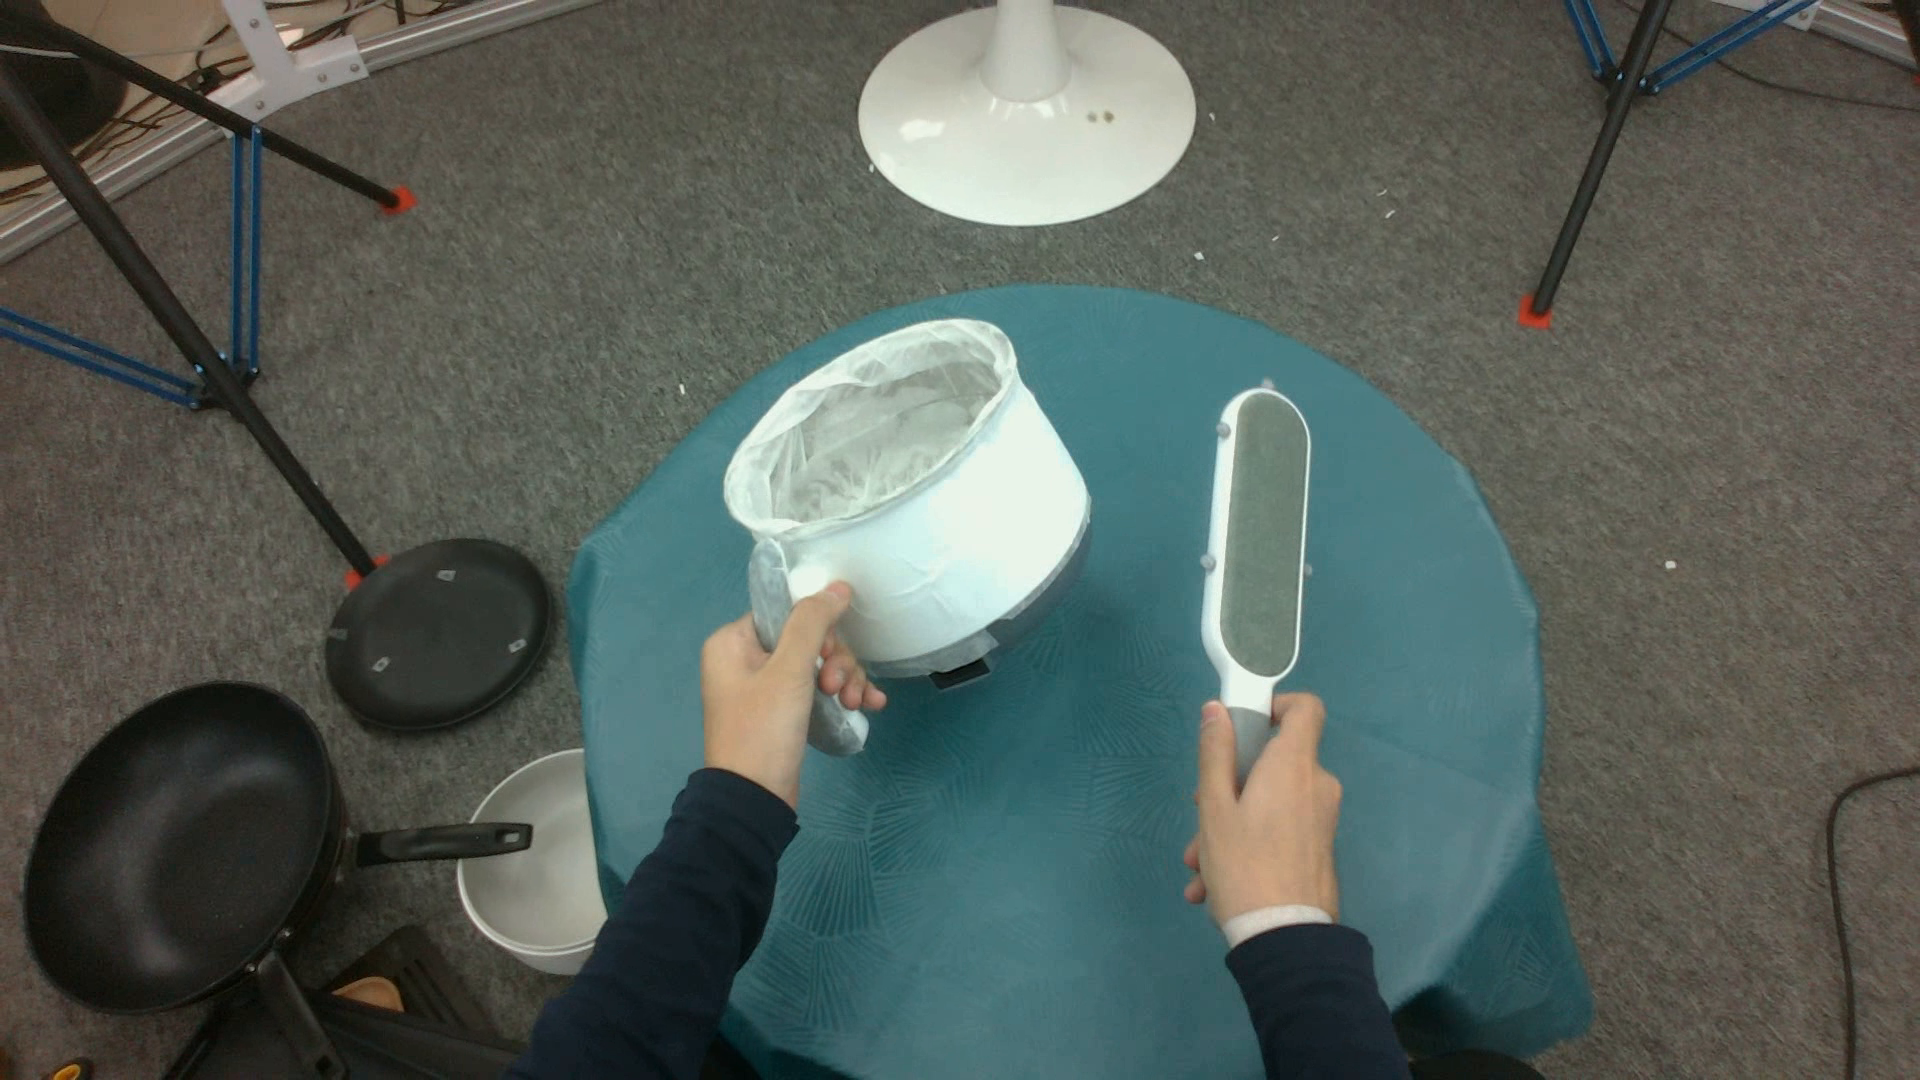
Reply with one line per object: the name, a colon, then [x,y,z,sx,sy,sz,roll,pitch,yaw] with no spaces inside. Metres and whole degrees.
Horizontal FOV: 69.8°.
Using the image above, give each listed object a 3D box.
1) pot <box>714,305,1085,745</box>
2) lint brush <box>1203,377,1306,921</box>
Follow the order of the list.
pot: [-0.040,-0.007,0.755,0.178,0.136,0.235,-3,41,39]
lint brush: [0.154,0.046,0.734,0.060,0.021,0.310,22,62,-25]
